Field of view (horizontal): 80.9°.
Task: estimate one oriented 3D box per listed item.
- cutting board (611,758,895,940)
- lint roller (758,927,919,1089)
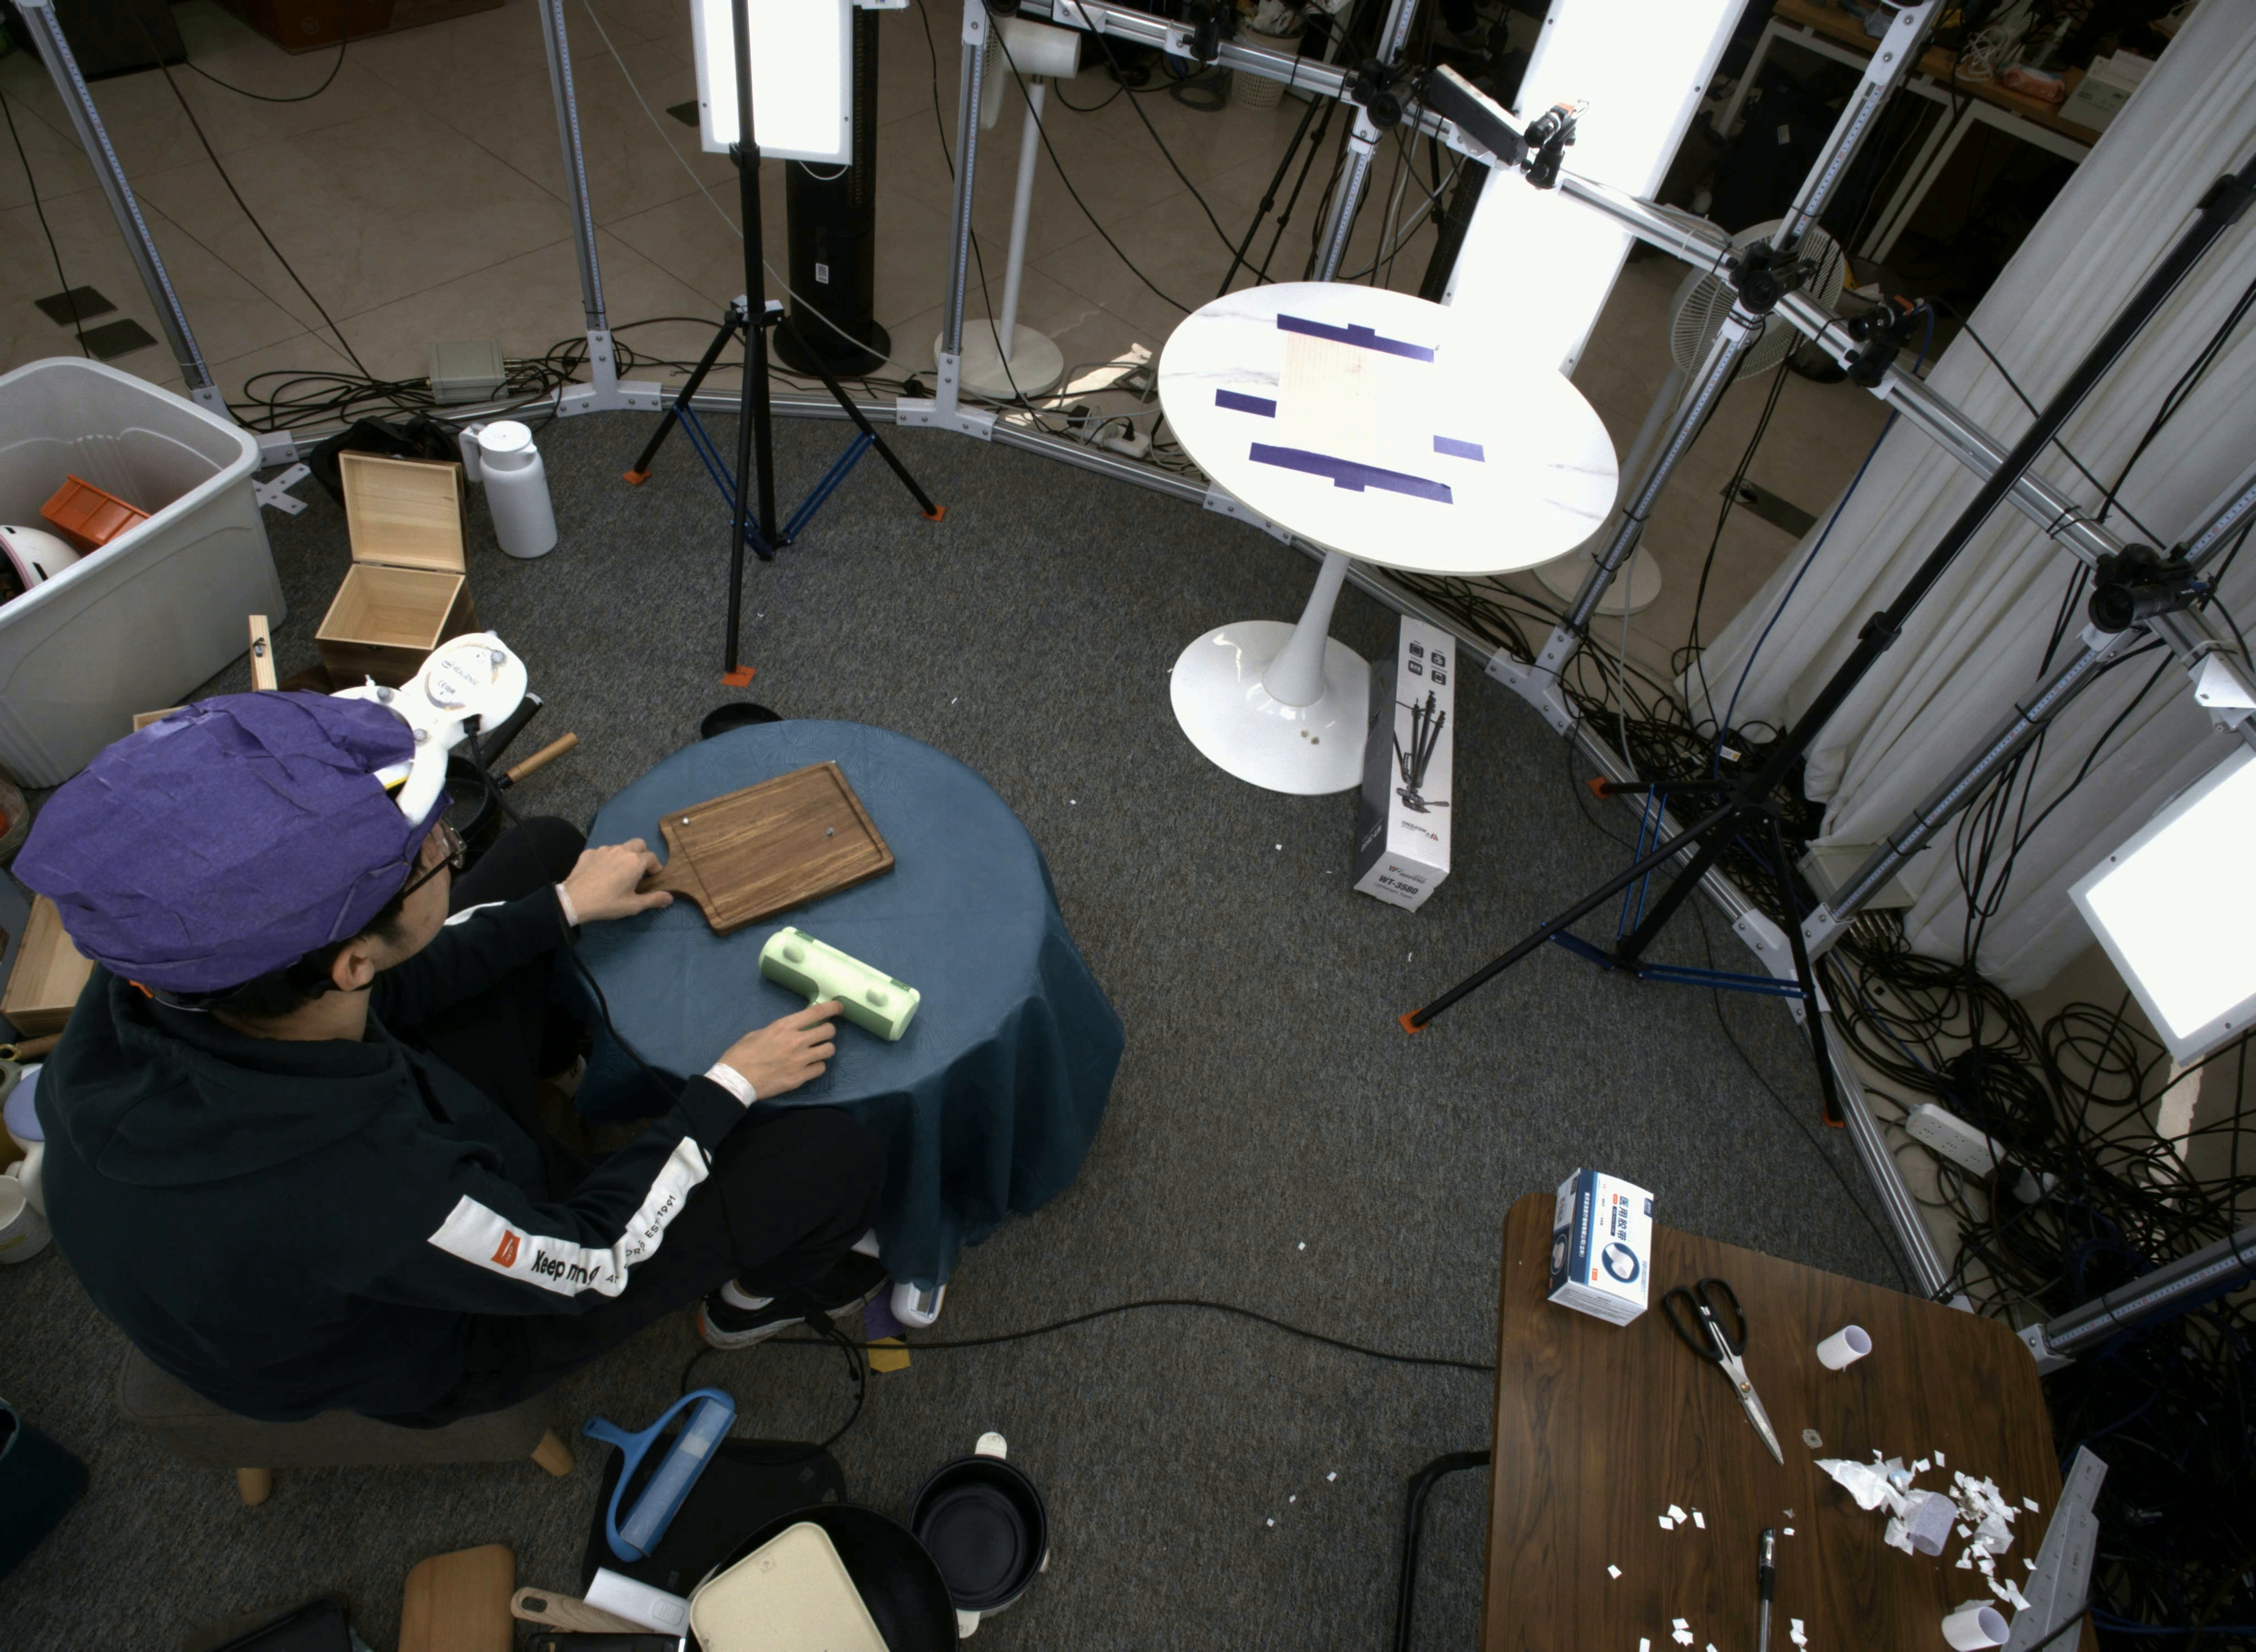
[{"bbox_3d":[-0.499,0.039,1.667,0.354,0.023,0.196,-24,63,-28],"label":"cutting board"},{"bbox_3d":[-0.373,0.220,1.531,0.196,0.084,0.182,27,48,6],"label":"lint roller"}]
